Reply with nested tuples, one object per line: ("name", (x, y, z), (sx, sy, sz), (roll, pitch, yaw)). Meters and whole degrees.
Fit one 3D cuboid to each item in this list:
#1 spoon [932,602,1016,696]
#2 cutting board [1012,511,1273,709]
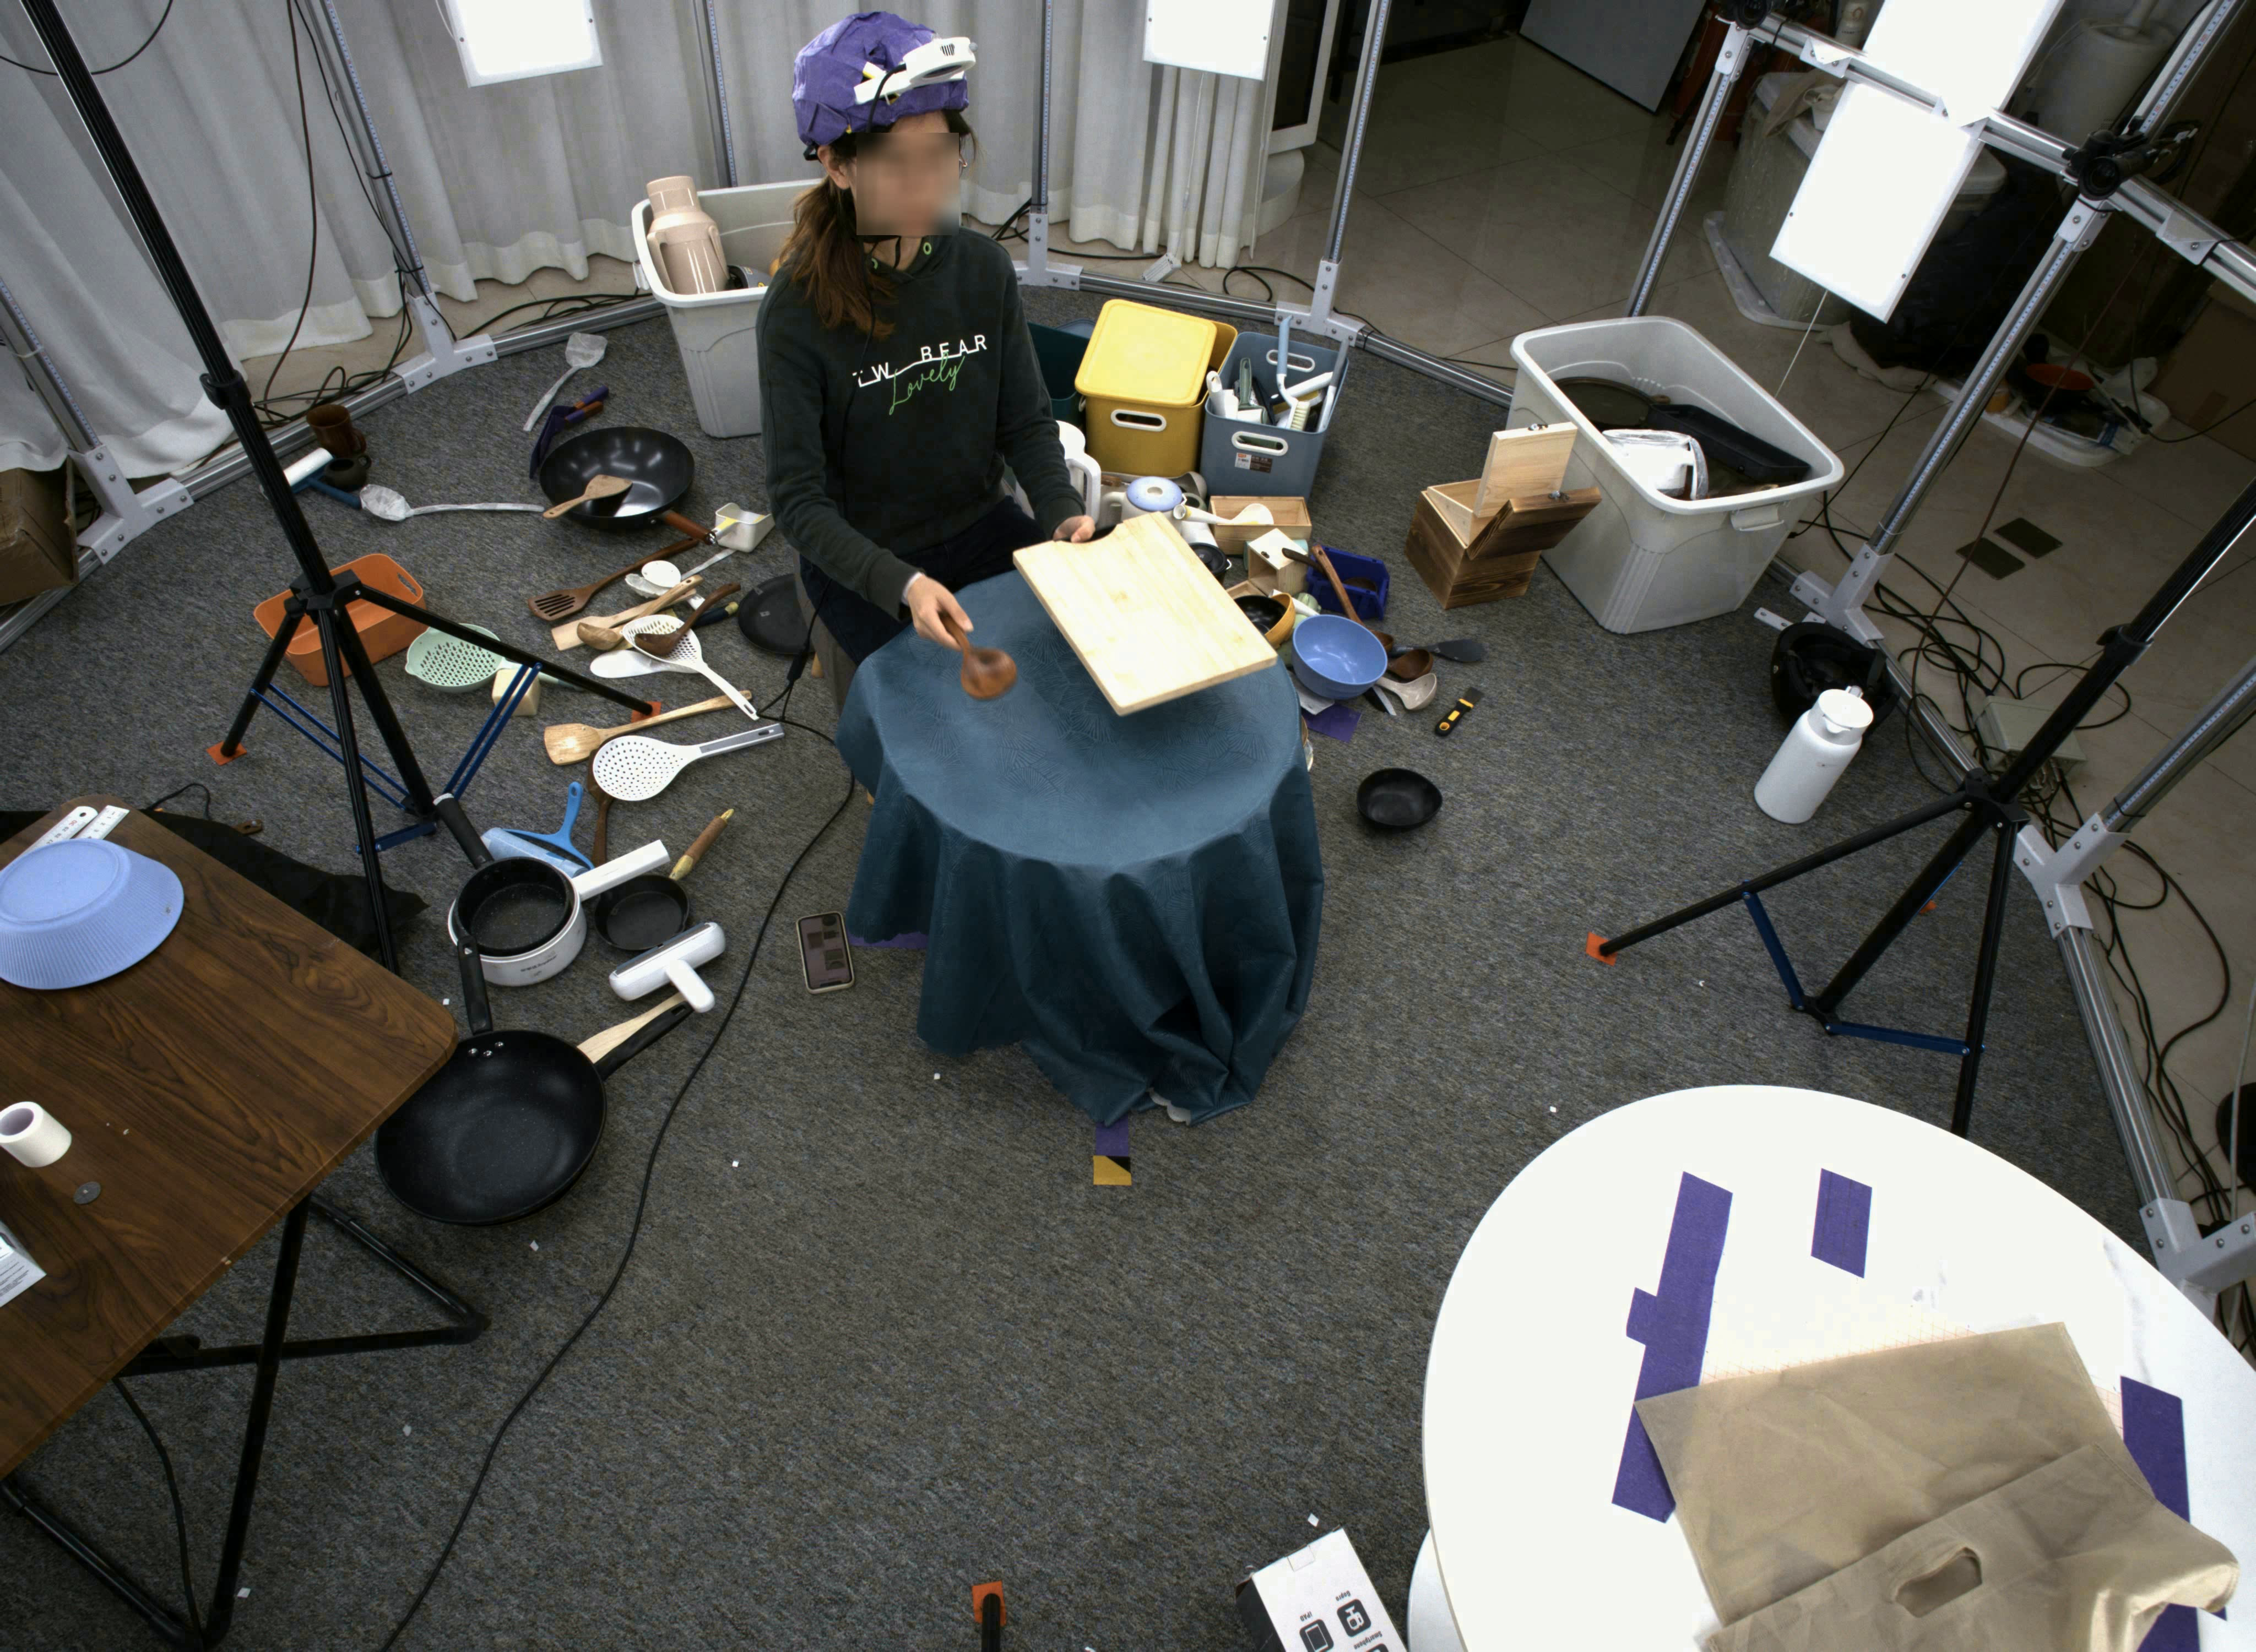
("spoon", (-0.210, -0.239, 1.714), (0.075, 0.017, 0.220), (-36, 49, -2))
("cutting board", (0.014, -0.311, 1.805), (0.251, 0.023, 0.356), (-19, 52, -19))
